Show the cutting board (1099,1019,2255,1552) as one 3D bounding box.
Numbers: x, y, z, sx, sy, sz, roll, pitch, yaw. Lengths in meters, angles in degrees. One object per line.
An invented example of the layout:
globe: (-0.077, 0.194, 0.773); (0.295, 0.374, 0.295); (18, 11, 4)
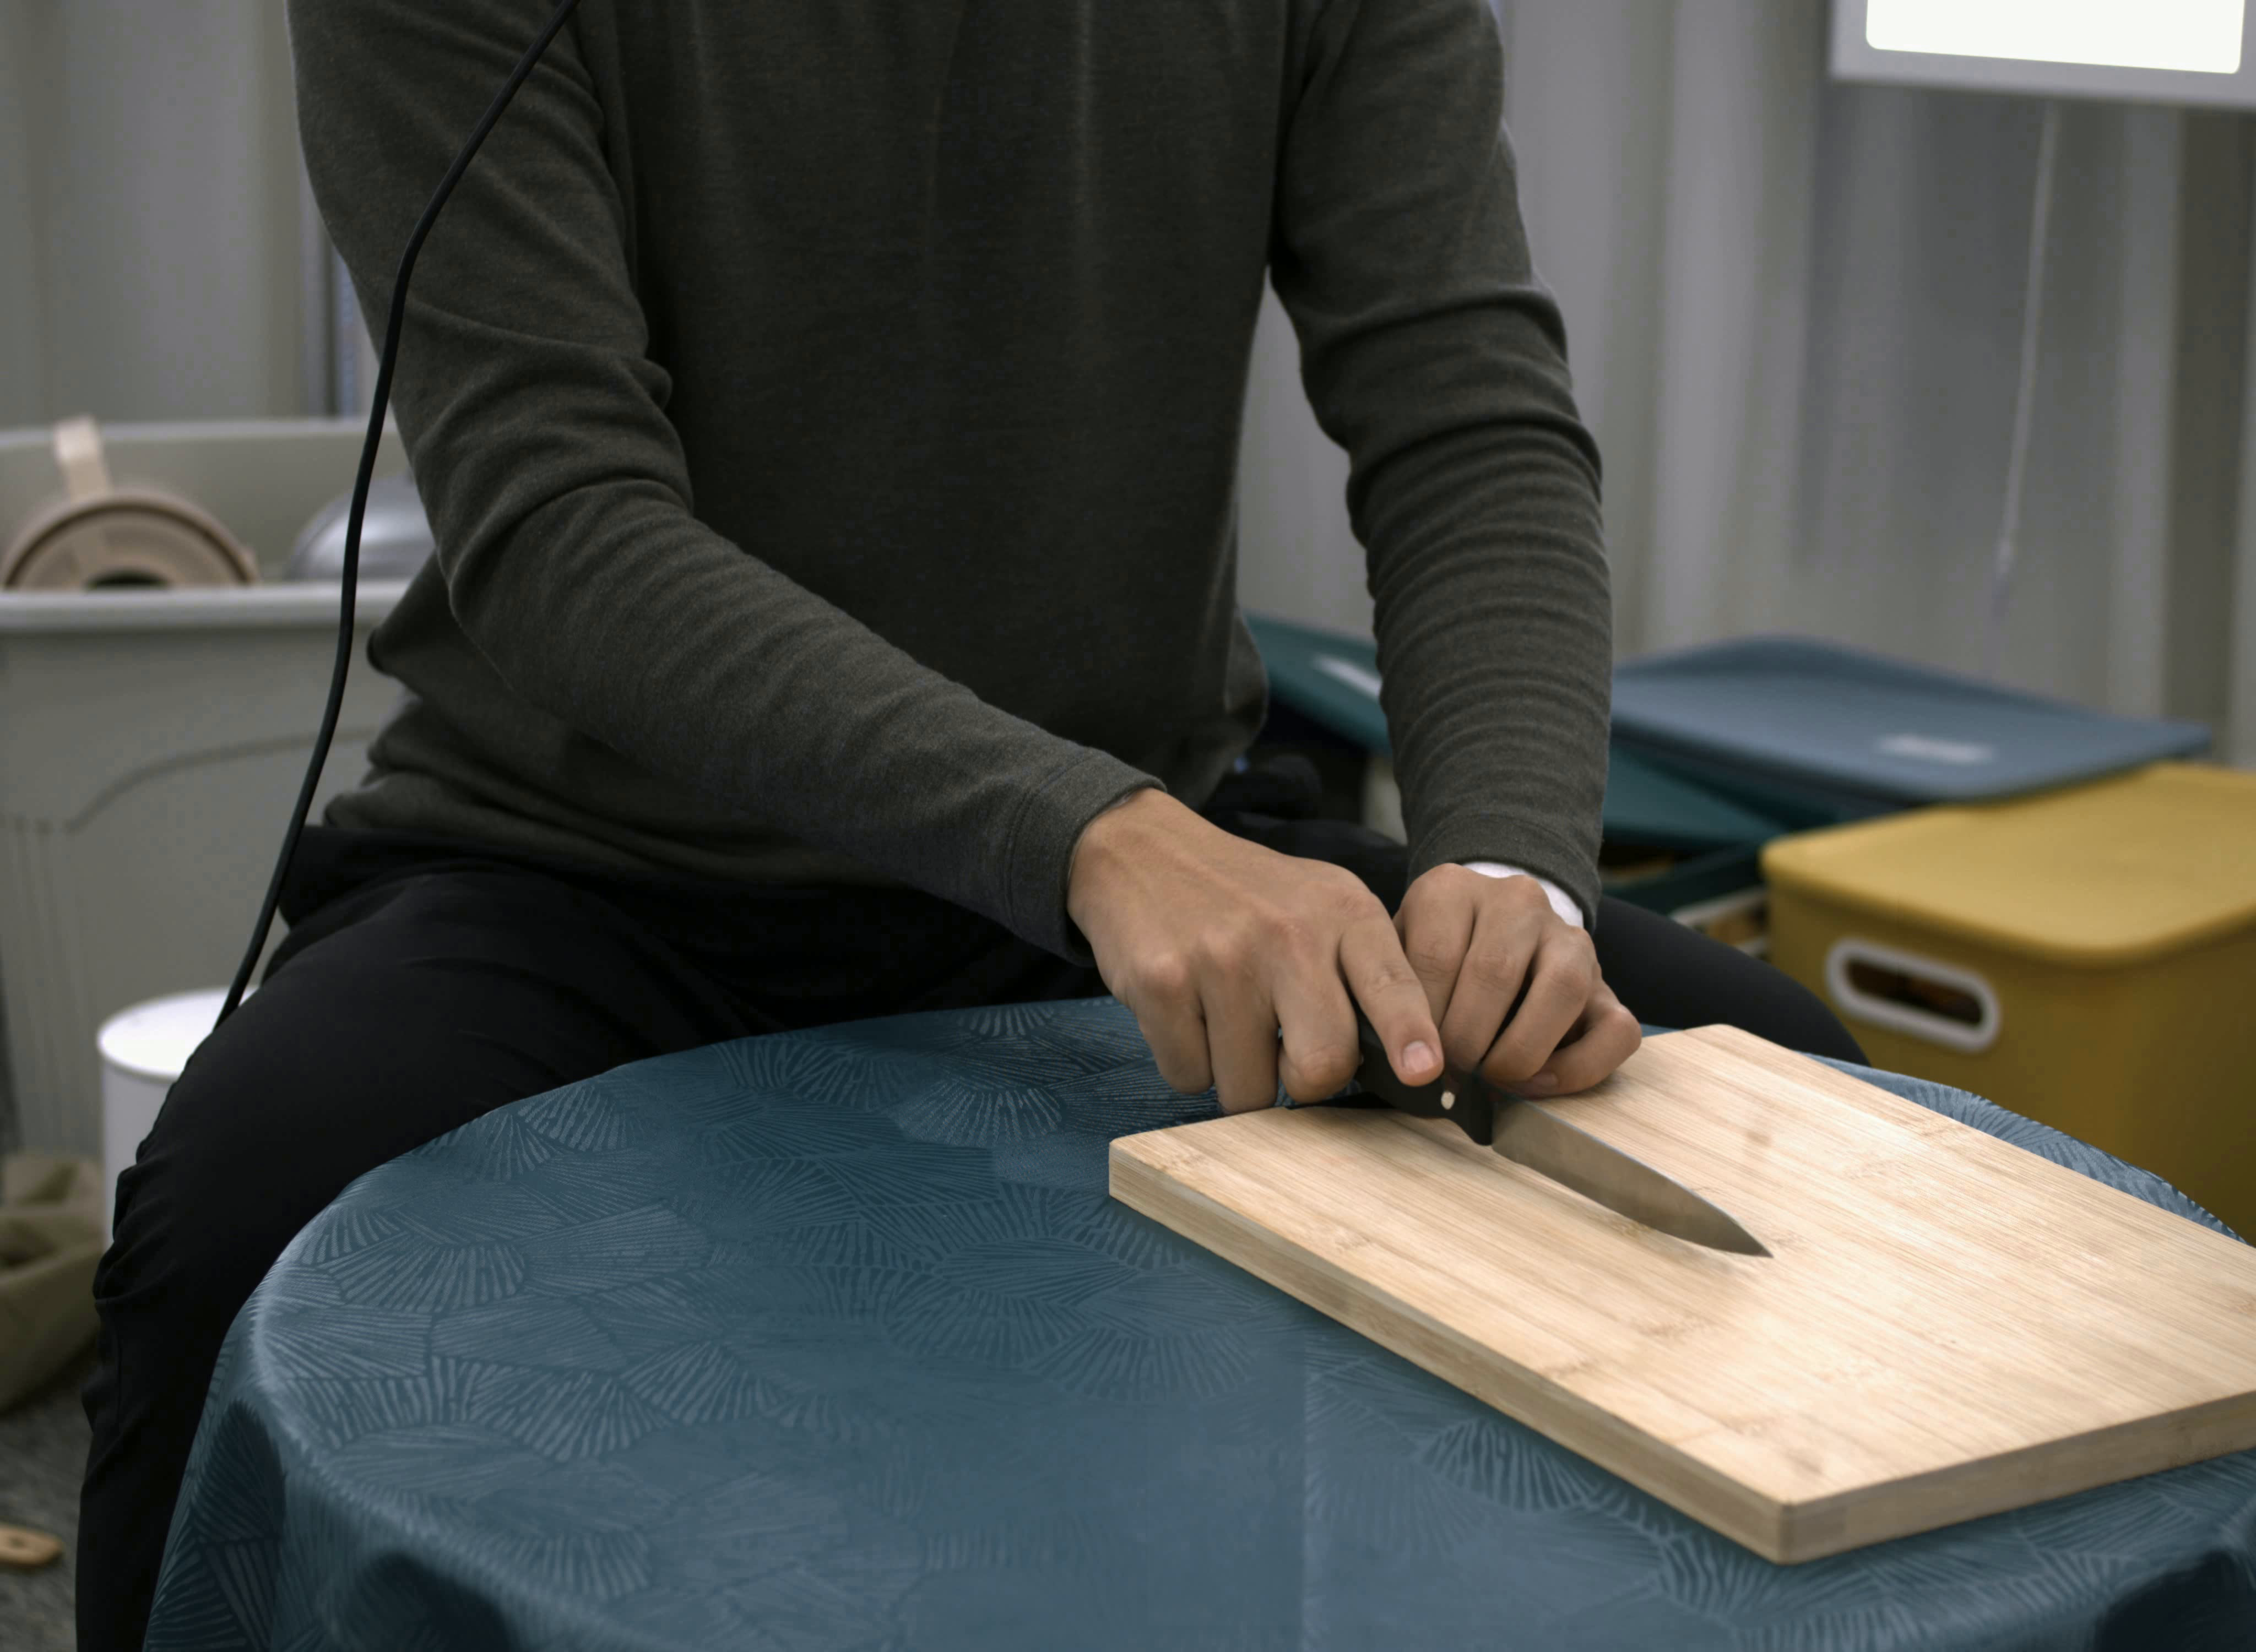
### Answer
cutting board: (0.180, 0.127, 1.549); (0.252, 0.024, 0.344); (-8, 18, -32)

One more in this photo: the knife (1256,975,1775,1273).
knife: (0.114, 0.088, 1.589); (0.016, 0.025, 0.235); (-17, 28, -33)
